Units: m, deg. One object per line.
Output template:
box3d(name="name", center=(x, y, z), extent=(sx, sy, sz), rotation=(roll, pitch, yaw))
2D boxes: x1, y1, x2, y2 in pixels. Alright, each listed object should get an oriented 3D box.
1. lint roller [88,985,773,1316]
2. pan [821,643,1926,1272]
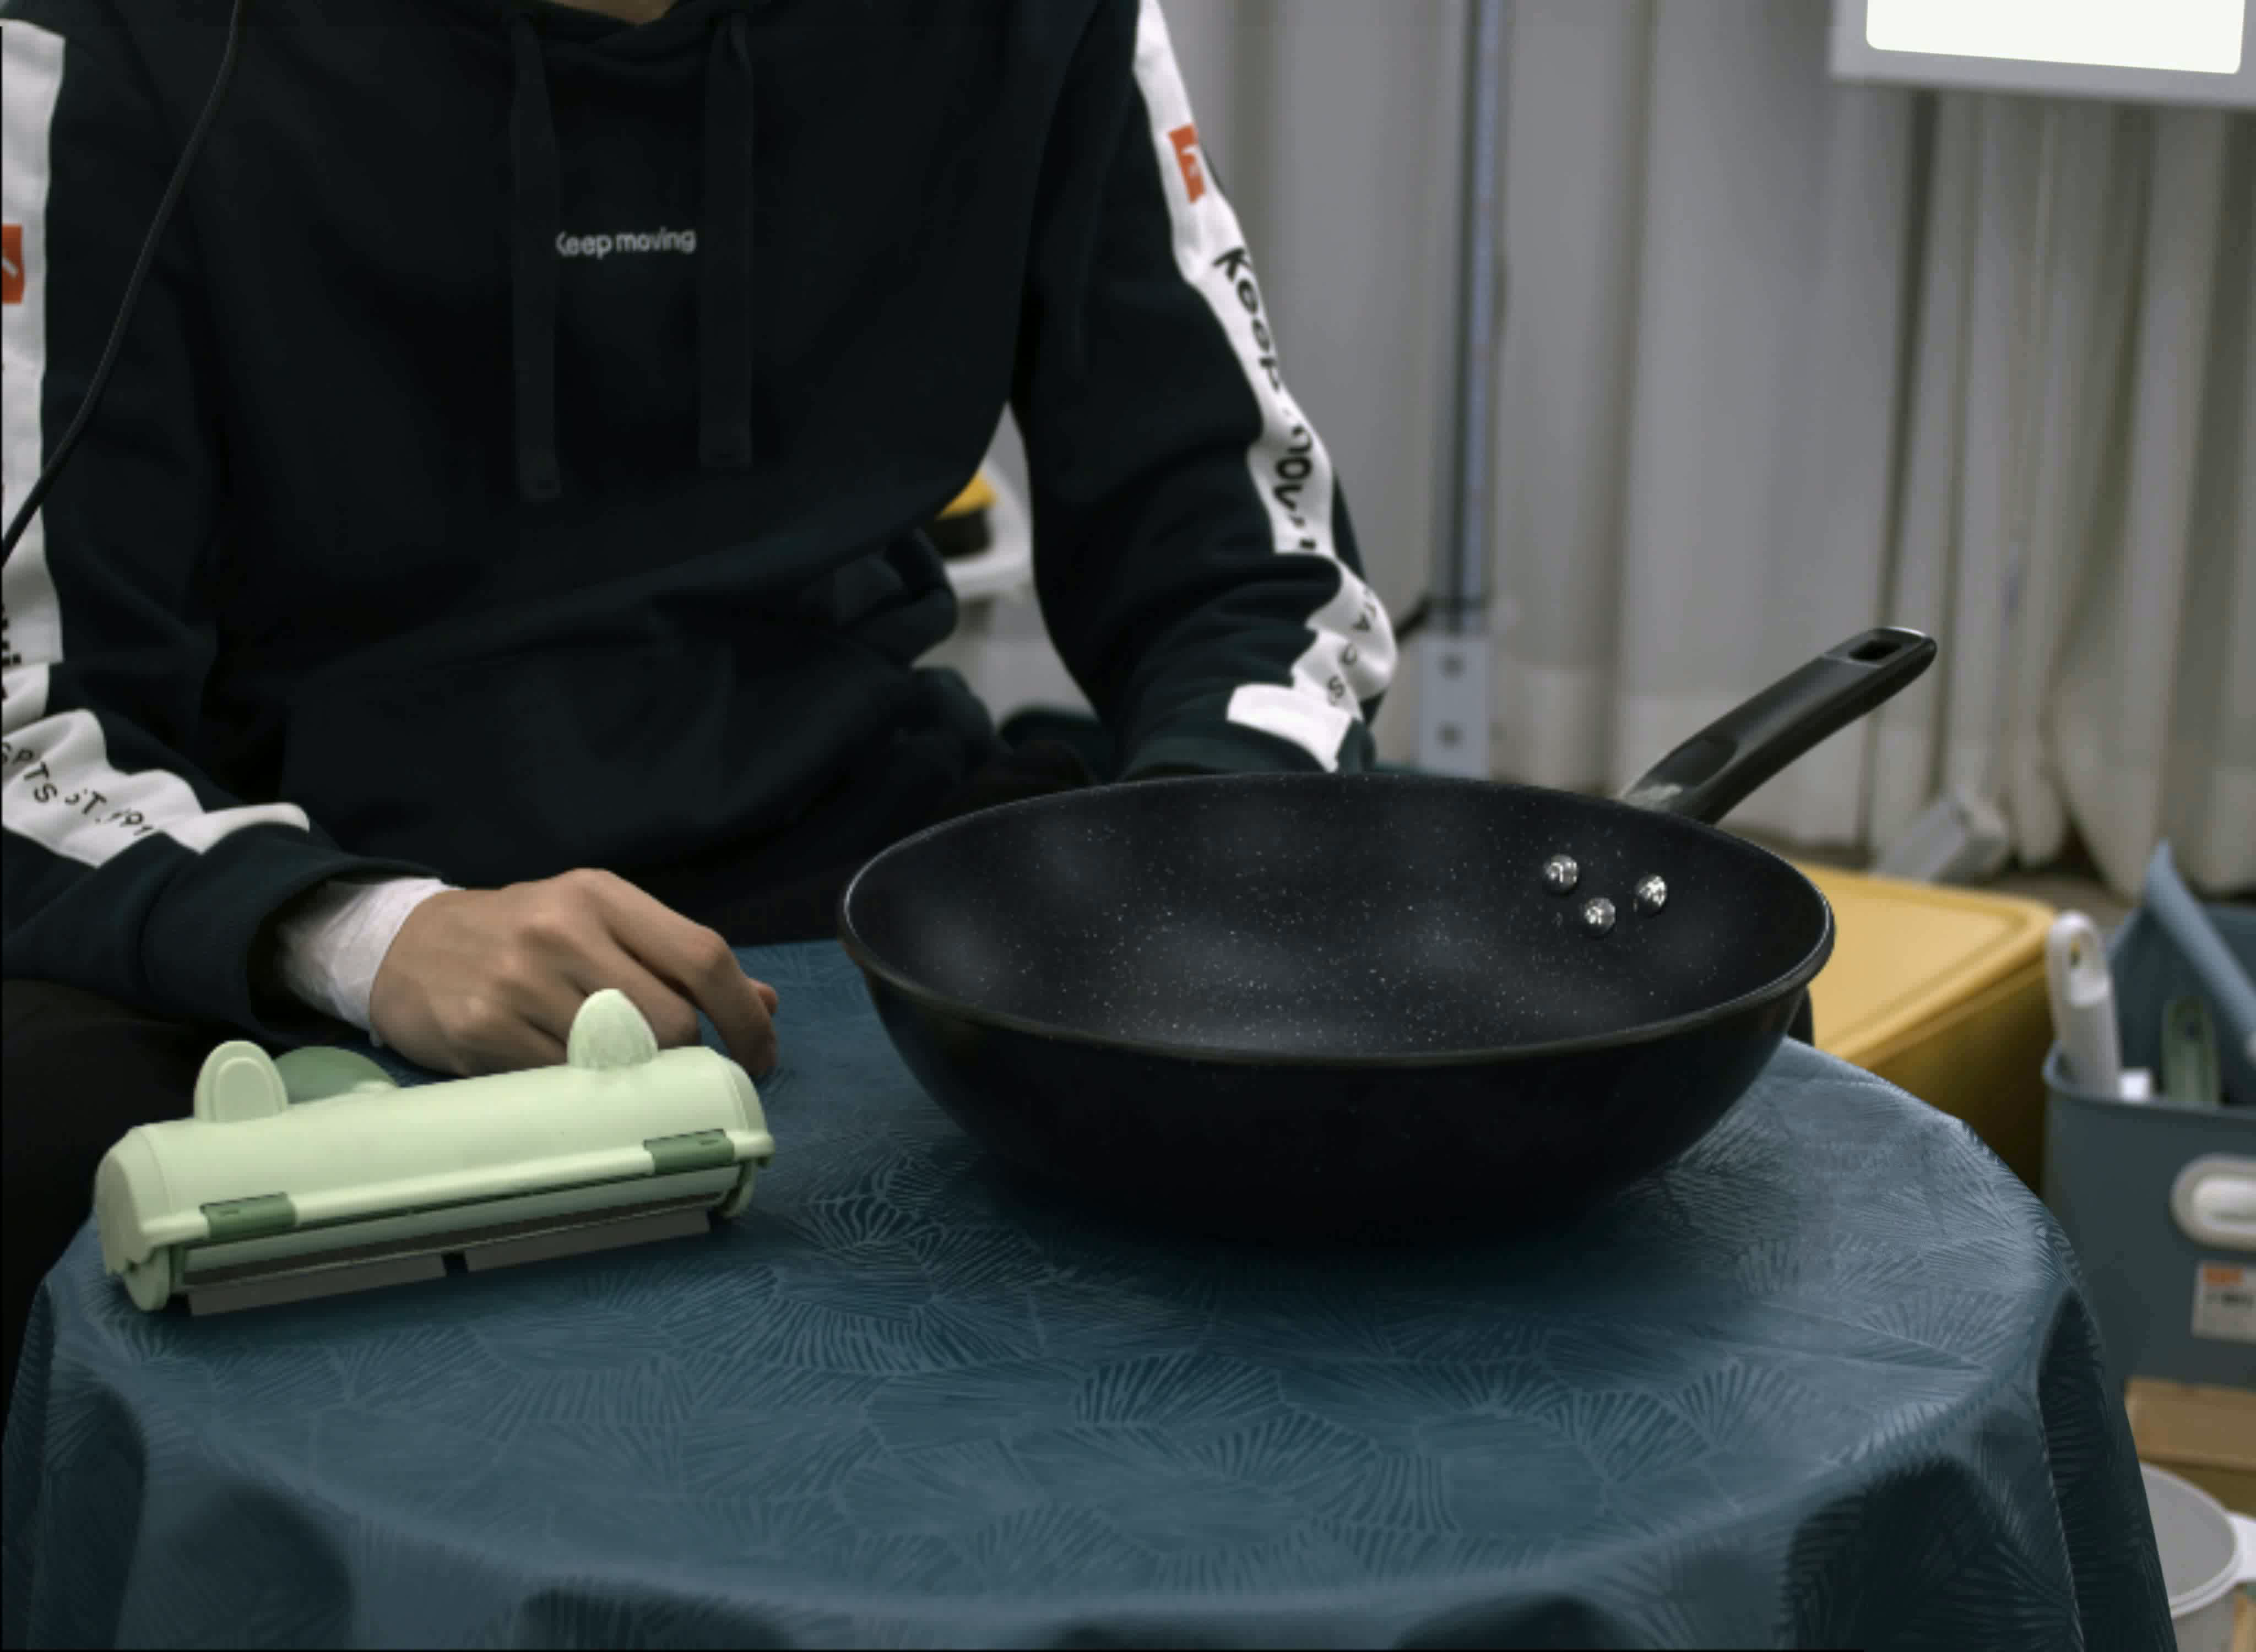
box3d(name="lint roller", center=(-0.228, 0.078, 1.593), extent=(0.199, 0.083, 0.181), rotation=(-8, 23, -25))
box3d(name="pan", center=(0.114, 0.039, 1.688), extent=(0.306, 0.112, 0.479), rotation=(15, 22, 38))
